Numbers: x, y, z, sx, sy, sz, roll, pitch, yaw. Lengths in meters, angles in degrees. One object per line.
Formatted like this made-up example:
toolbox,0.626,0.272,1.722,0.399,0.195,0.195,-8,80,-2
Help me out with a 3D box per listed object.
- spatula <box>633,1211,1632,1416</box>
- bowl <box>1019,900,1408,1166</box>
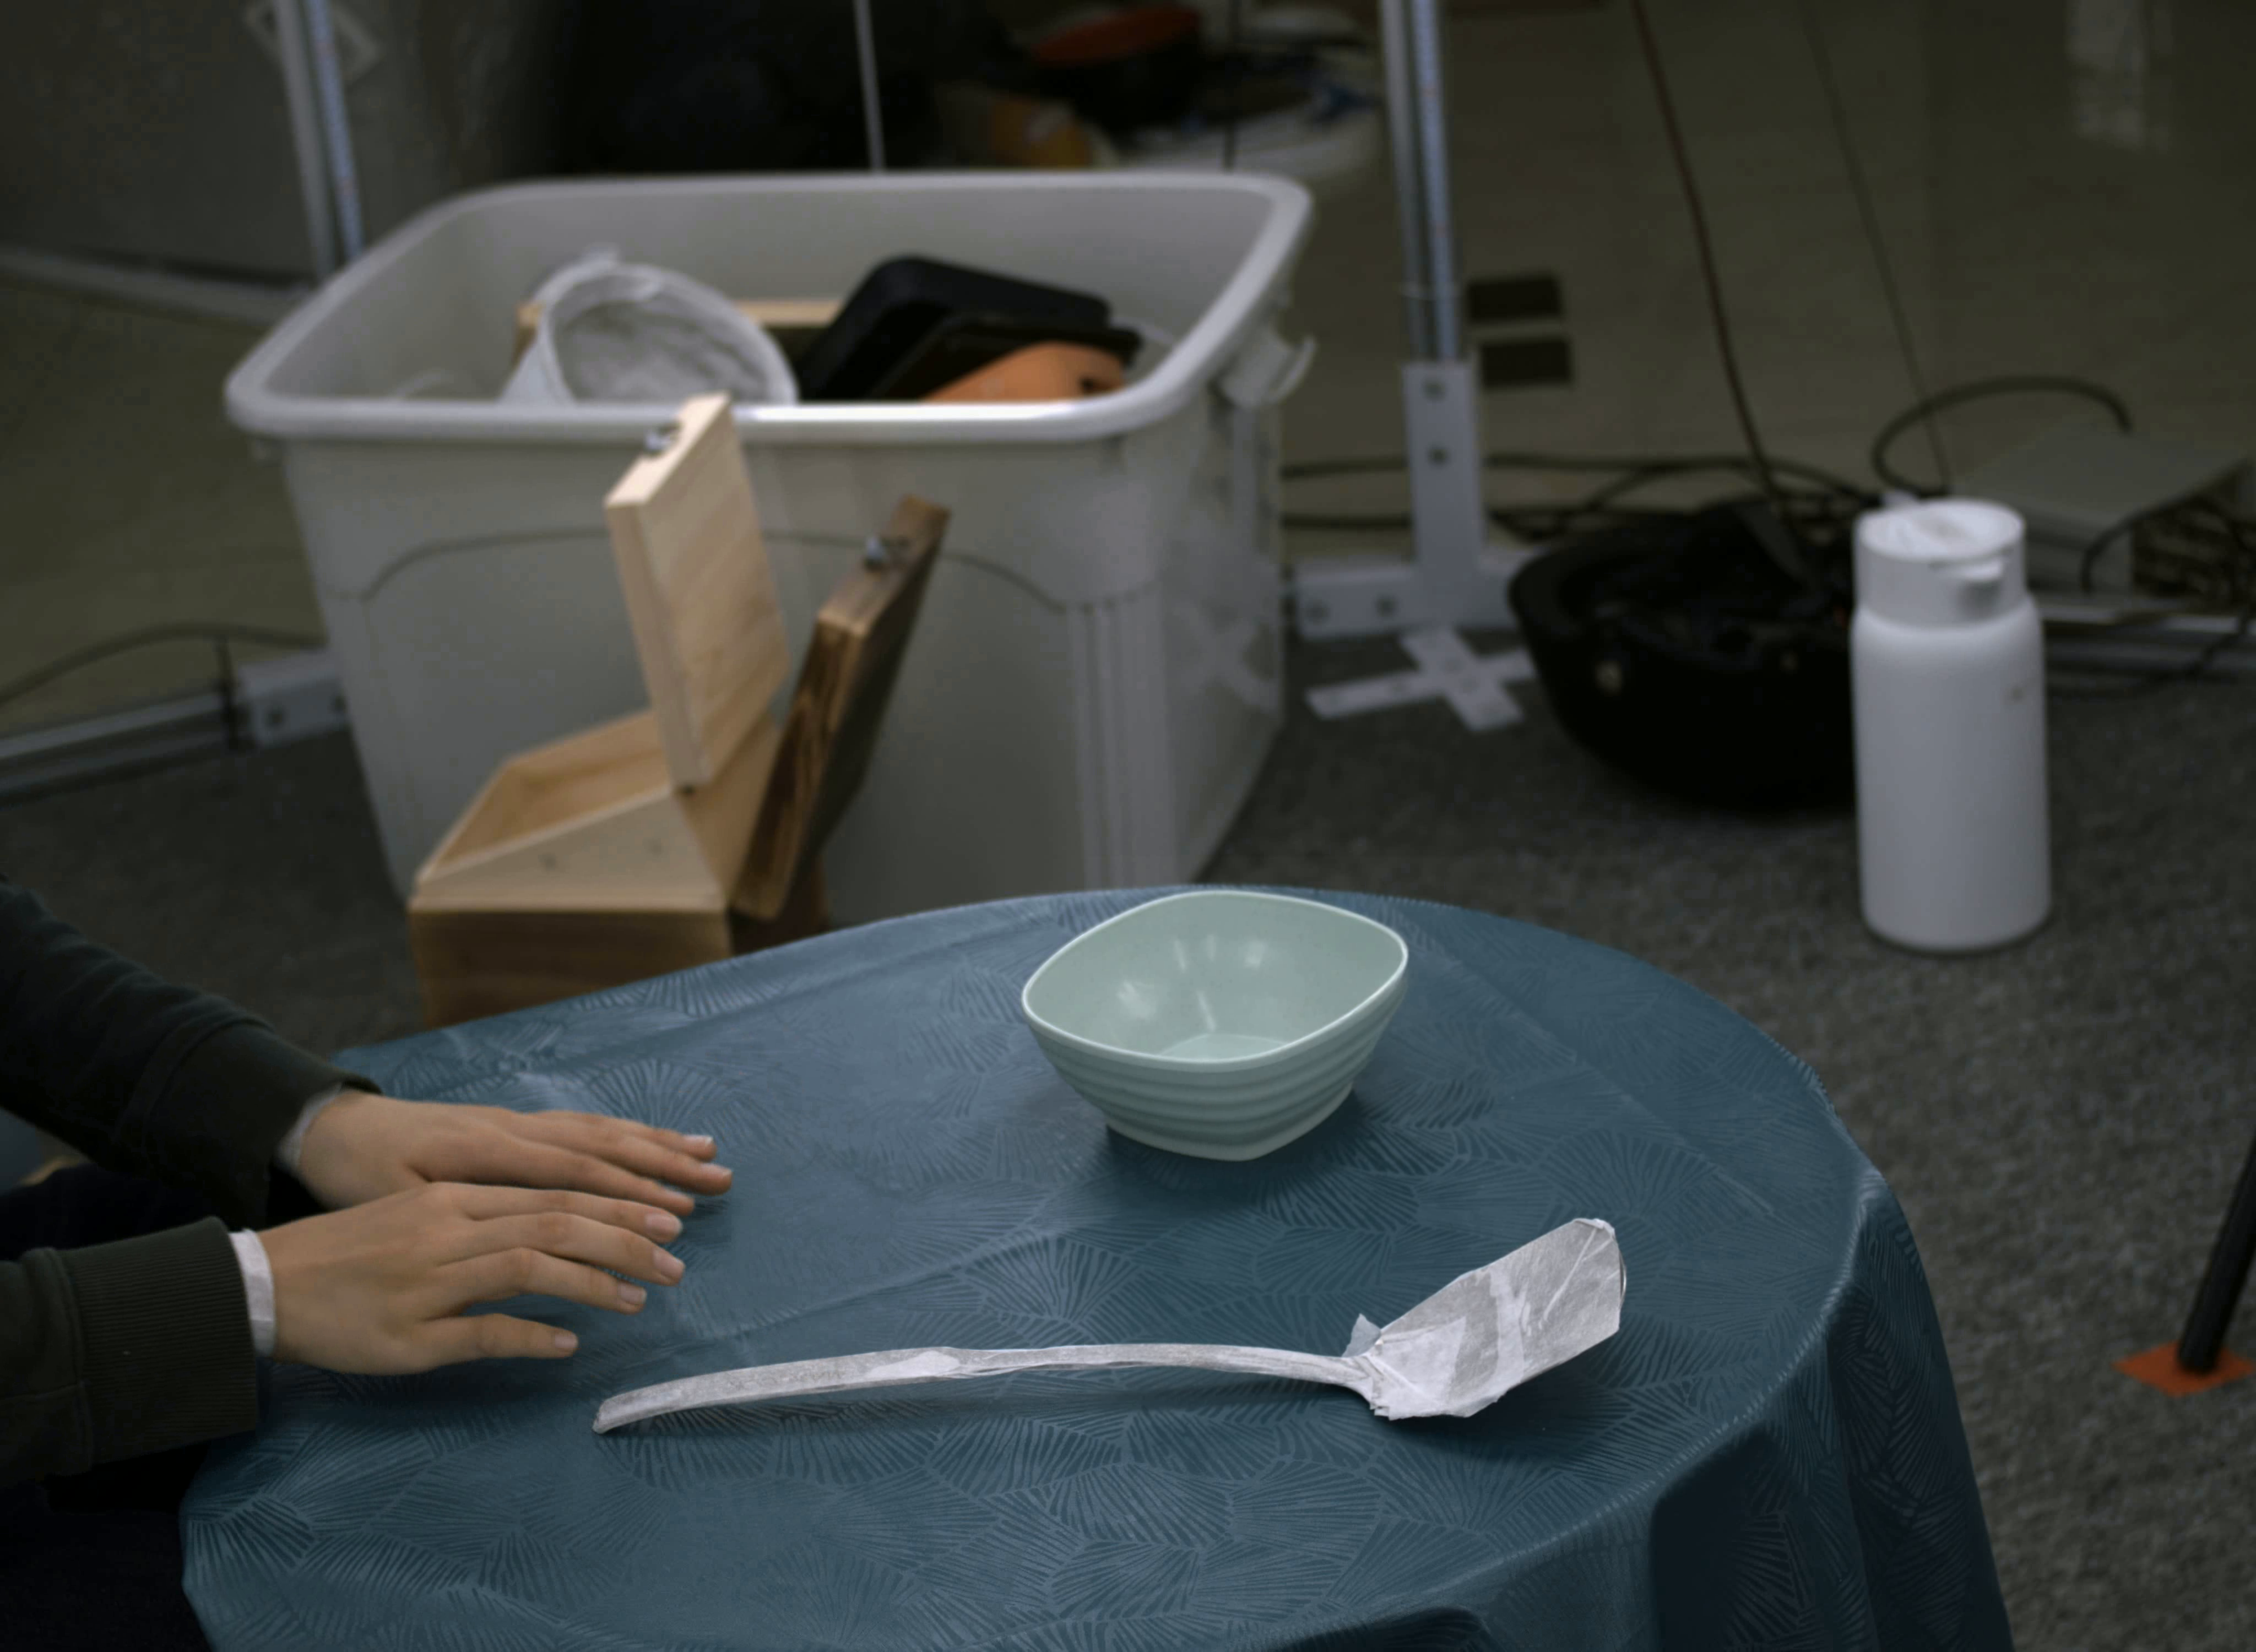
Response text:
spatula,-0.003,0.183,2.012,0.364,0.045,0.097,-3,27,7
bowl,0.035,0.085,2.195,0.151,0.059,0.149,-3,24,2
